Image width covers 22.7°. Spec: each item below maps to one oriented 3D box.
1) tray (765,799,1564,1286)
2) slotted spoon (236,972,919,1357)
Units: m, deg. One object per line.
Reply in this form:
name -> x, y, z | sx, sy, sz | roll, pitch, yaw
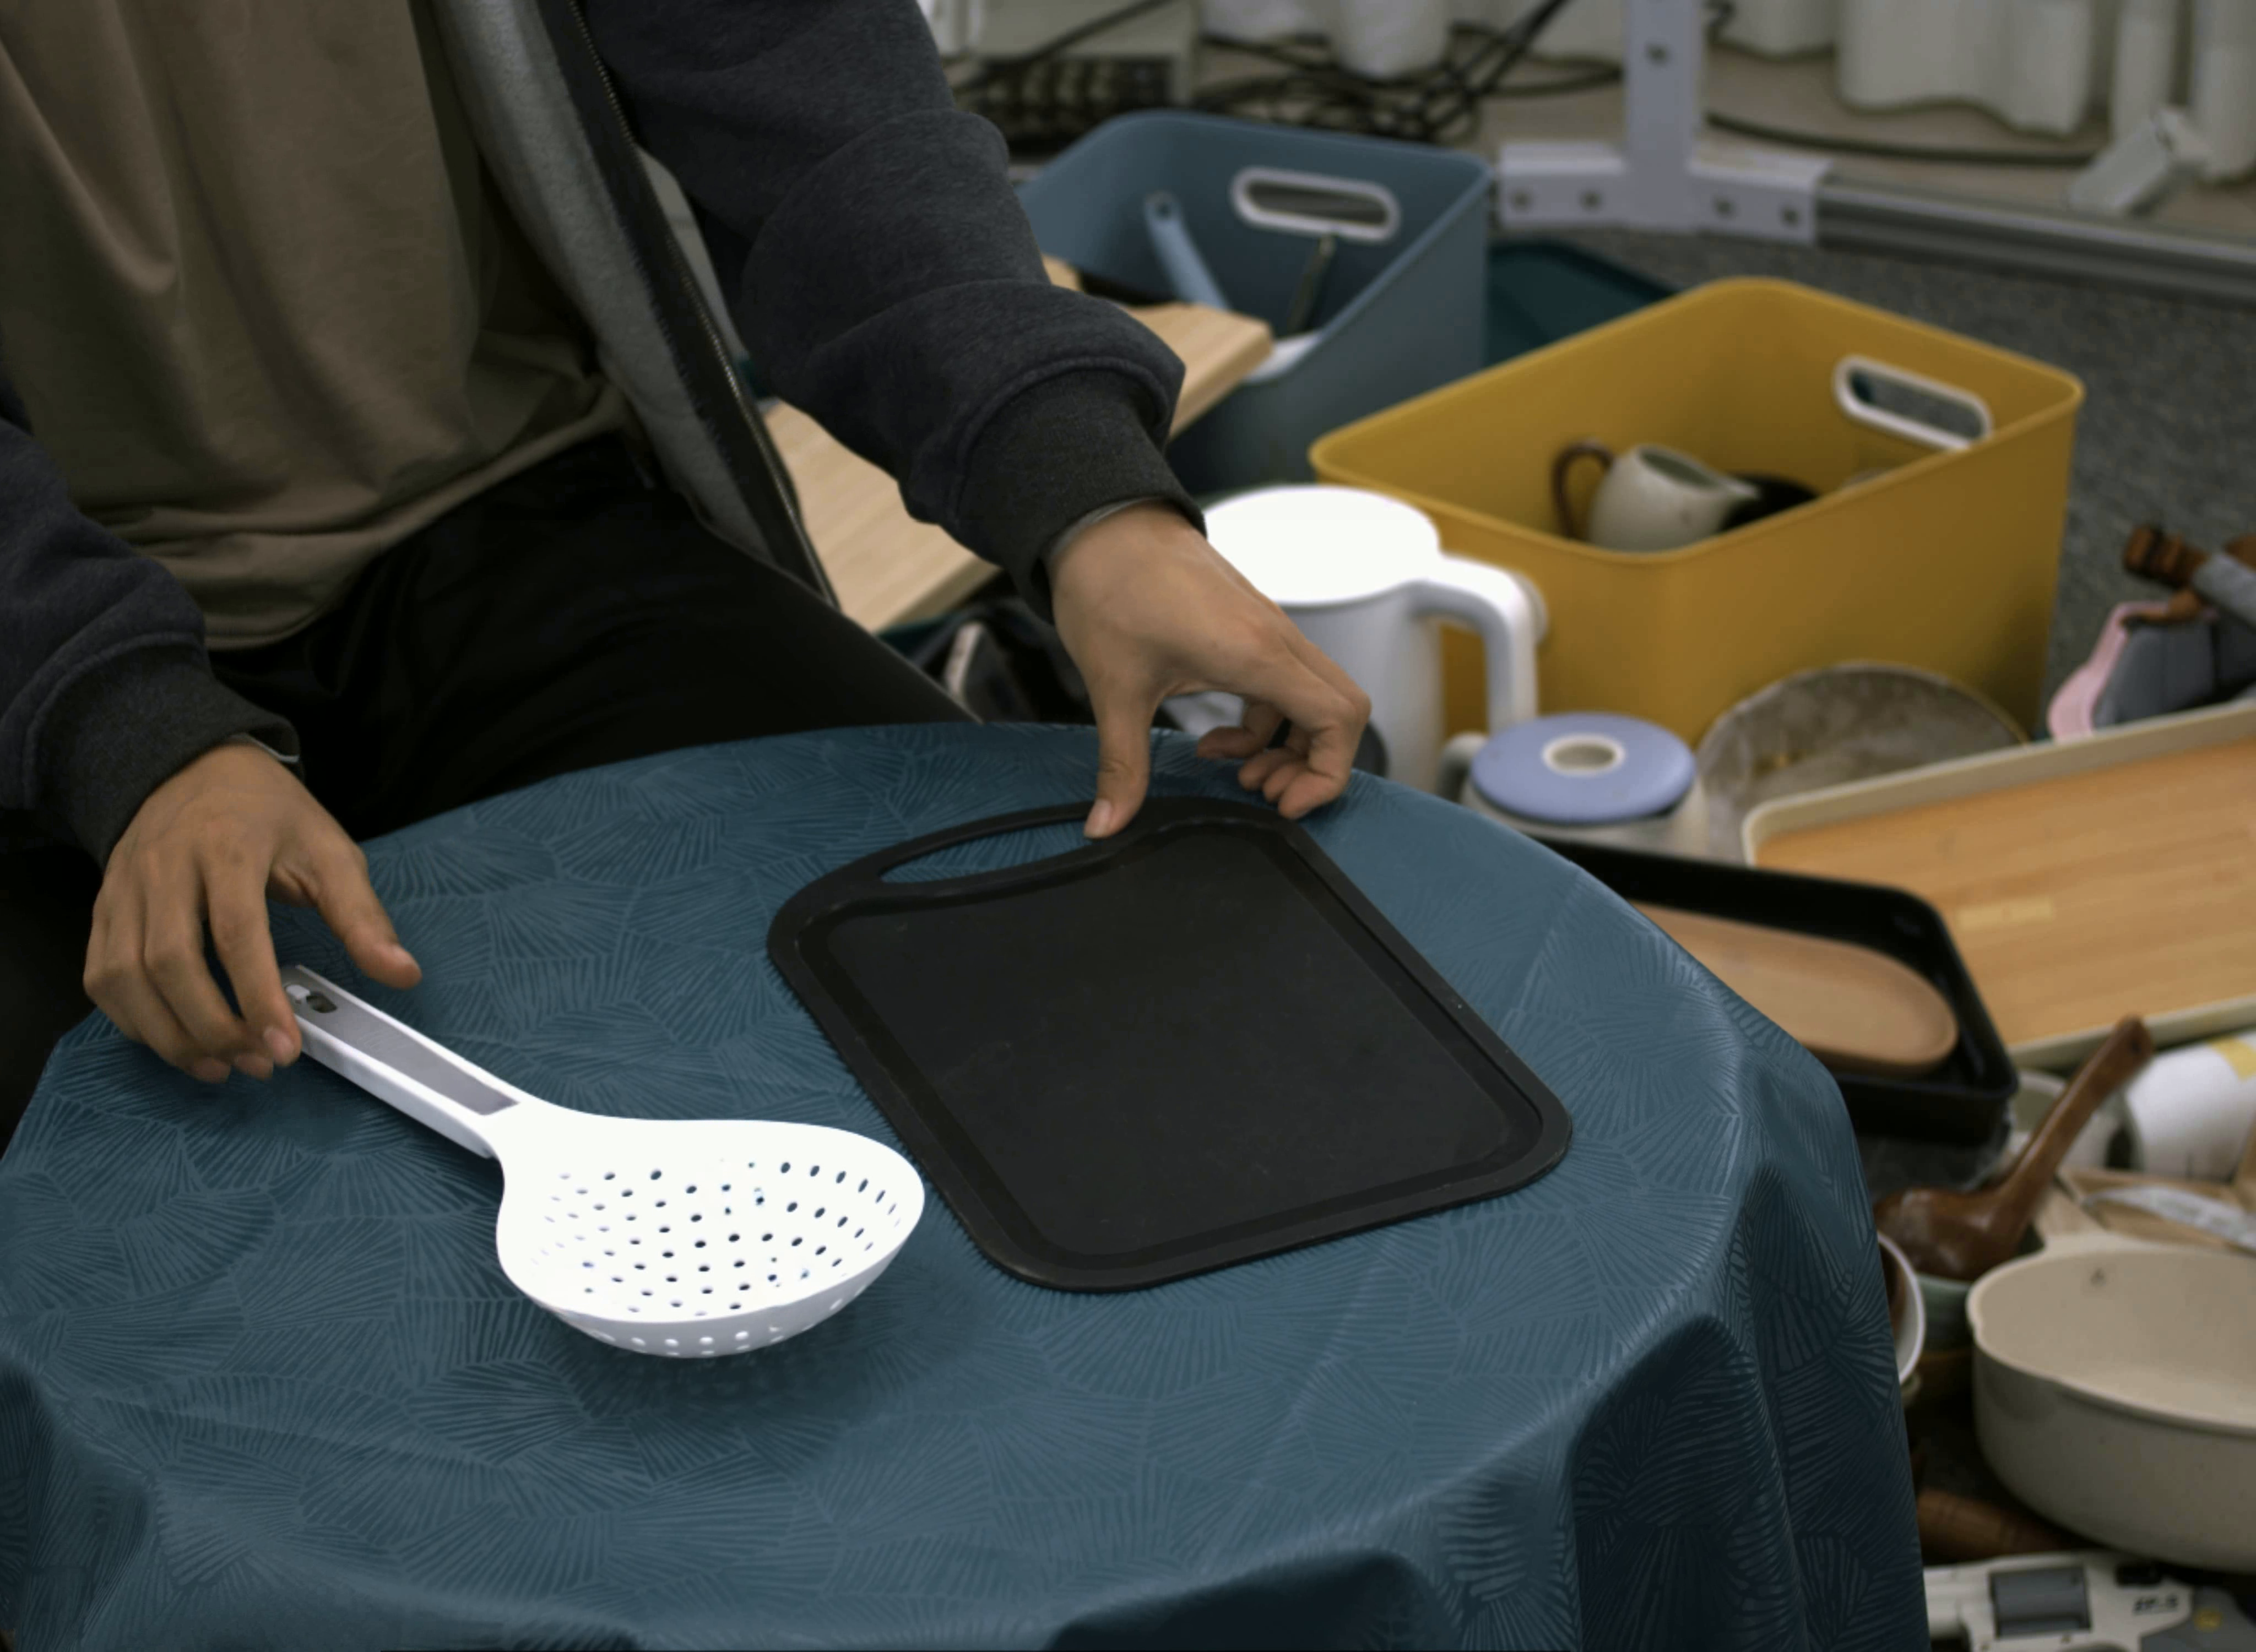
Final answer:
tray -> 0.003, 0.066, 1.962 | 0.211, 0.009, 0.328 | -12, 29, -18
slotted spoon -> -0.200, 0.105, 1.865 | 0.137, 0.045, 0.350 | -20, 31, -34
